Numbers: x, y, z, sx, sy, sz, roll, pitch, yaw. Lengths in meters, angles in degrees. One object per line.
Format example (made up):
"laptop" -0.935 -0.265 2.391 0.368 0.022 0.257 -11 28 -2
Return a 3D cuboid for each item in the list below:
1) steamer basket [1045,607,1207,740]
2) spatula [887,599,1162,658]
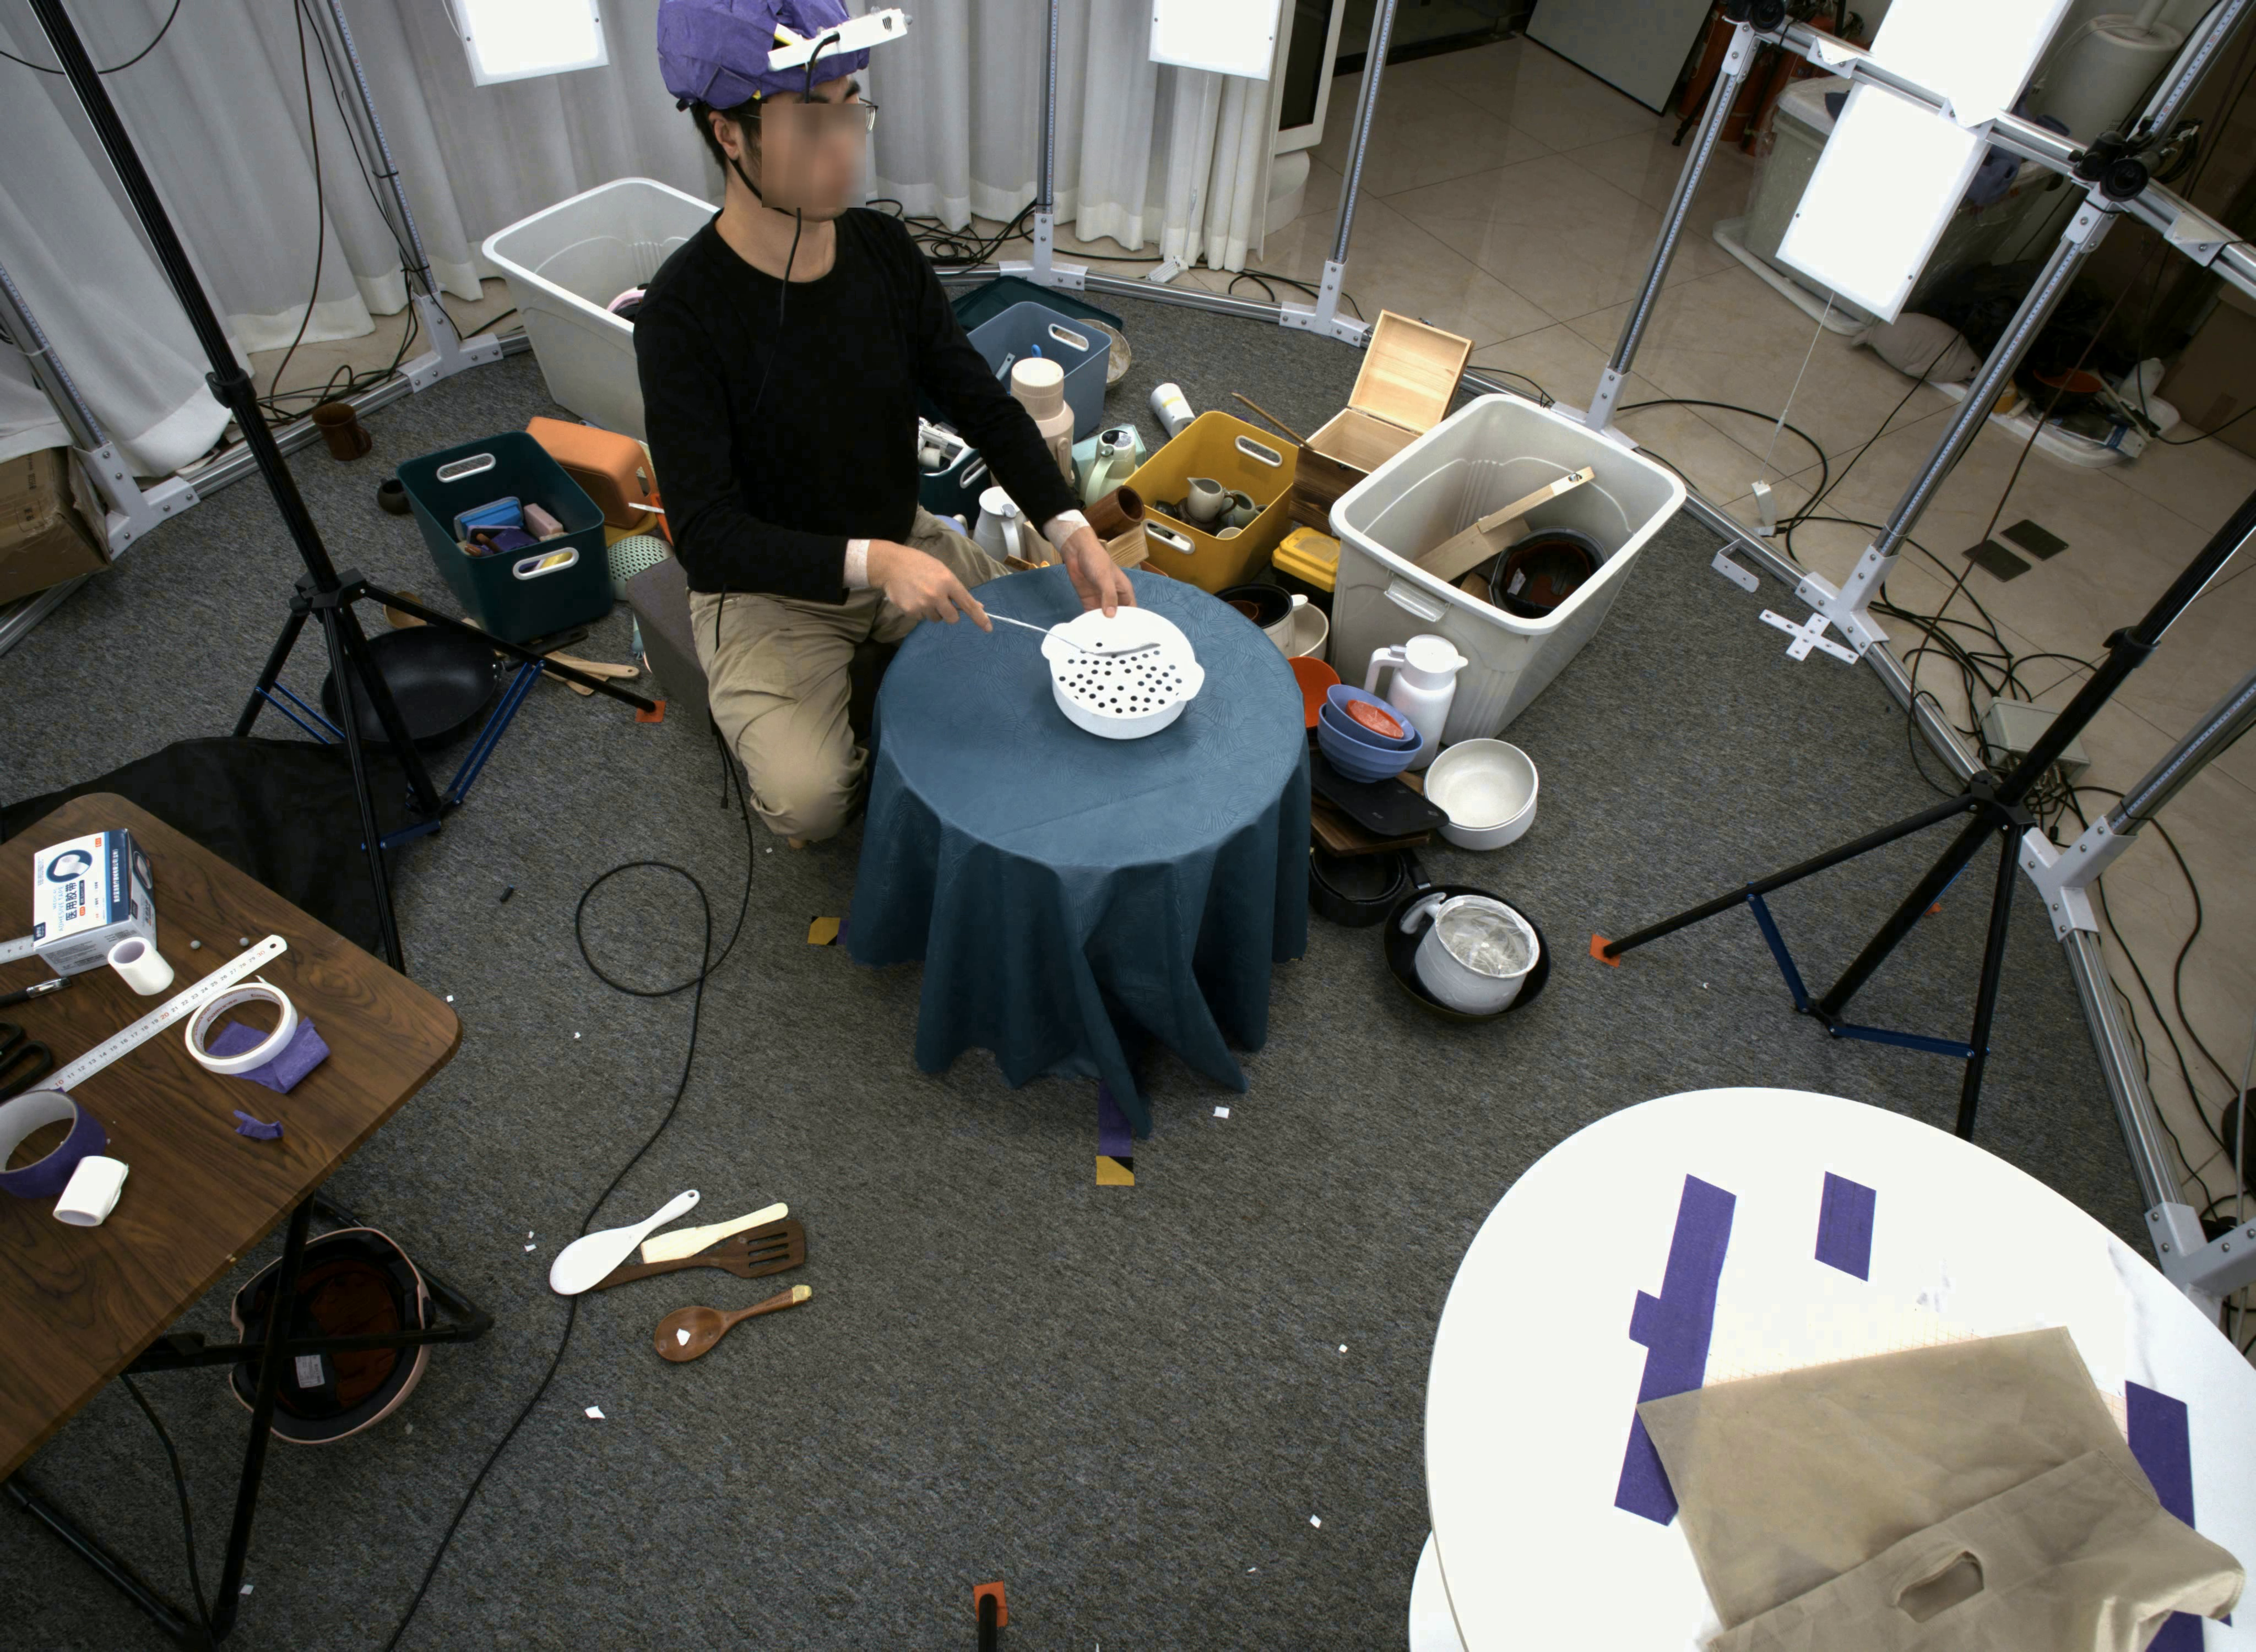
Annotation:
"steamer basket" -0.004 -0.213 1.800 0.231 0.067 0.206 19 56 11
"spatula" -0.135 -0.271 1.714 0.363 0.044 0.099 14 5 -11
